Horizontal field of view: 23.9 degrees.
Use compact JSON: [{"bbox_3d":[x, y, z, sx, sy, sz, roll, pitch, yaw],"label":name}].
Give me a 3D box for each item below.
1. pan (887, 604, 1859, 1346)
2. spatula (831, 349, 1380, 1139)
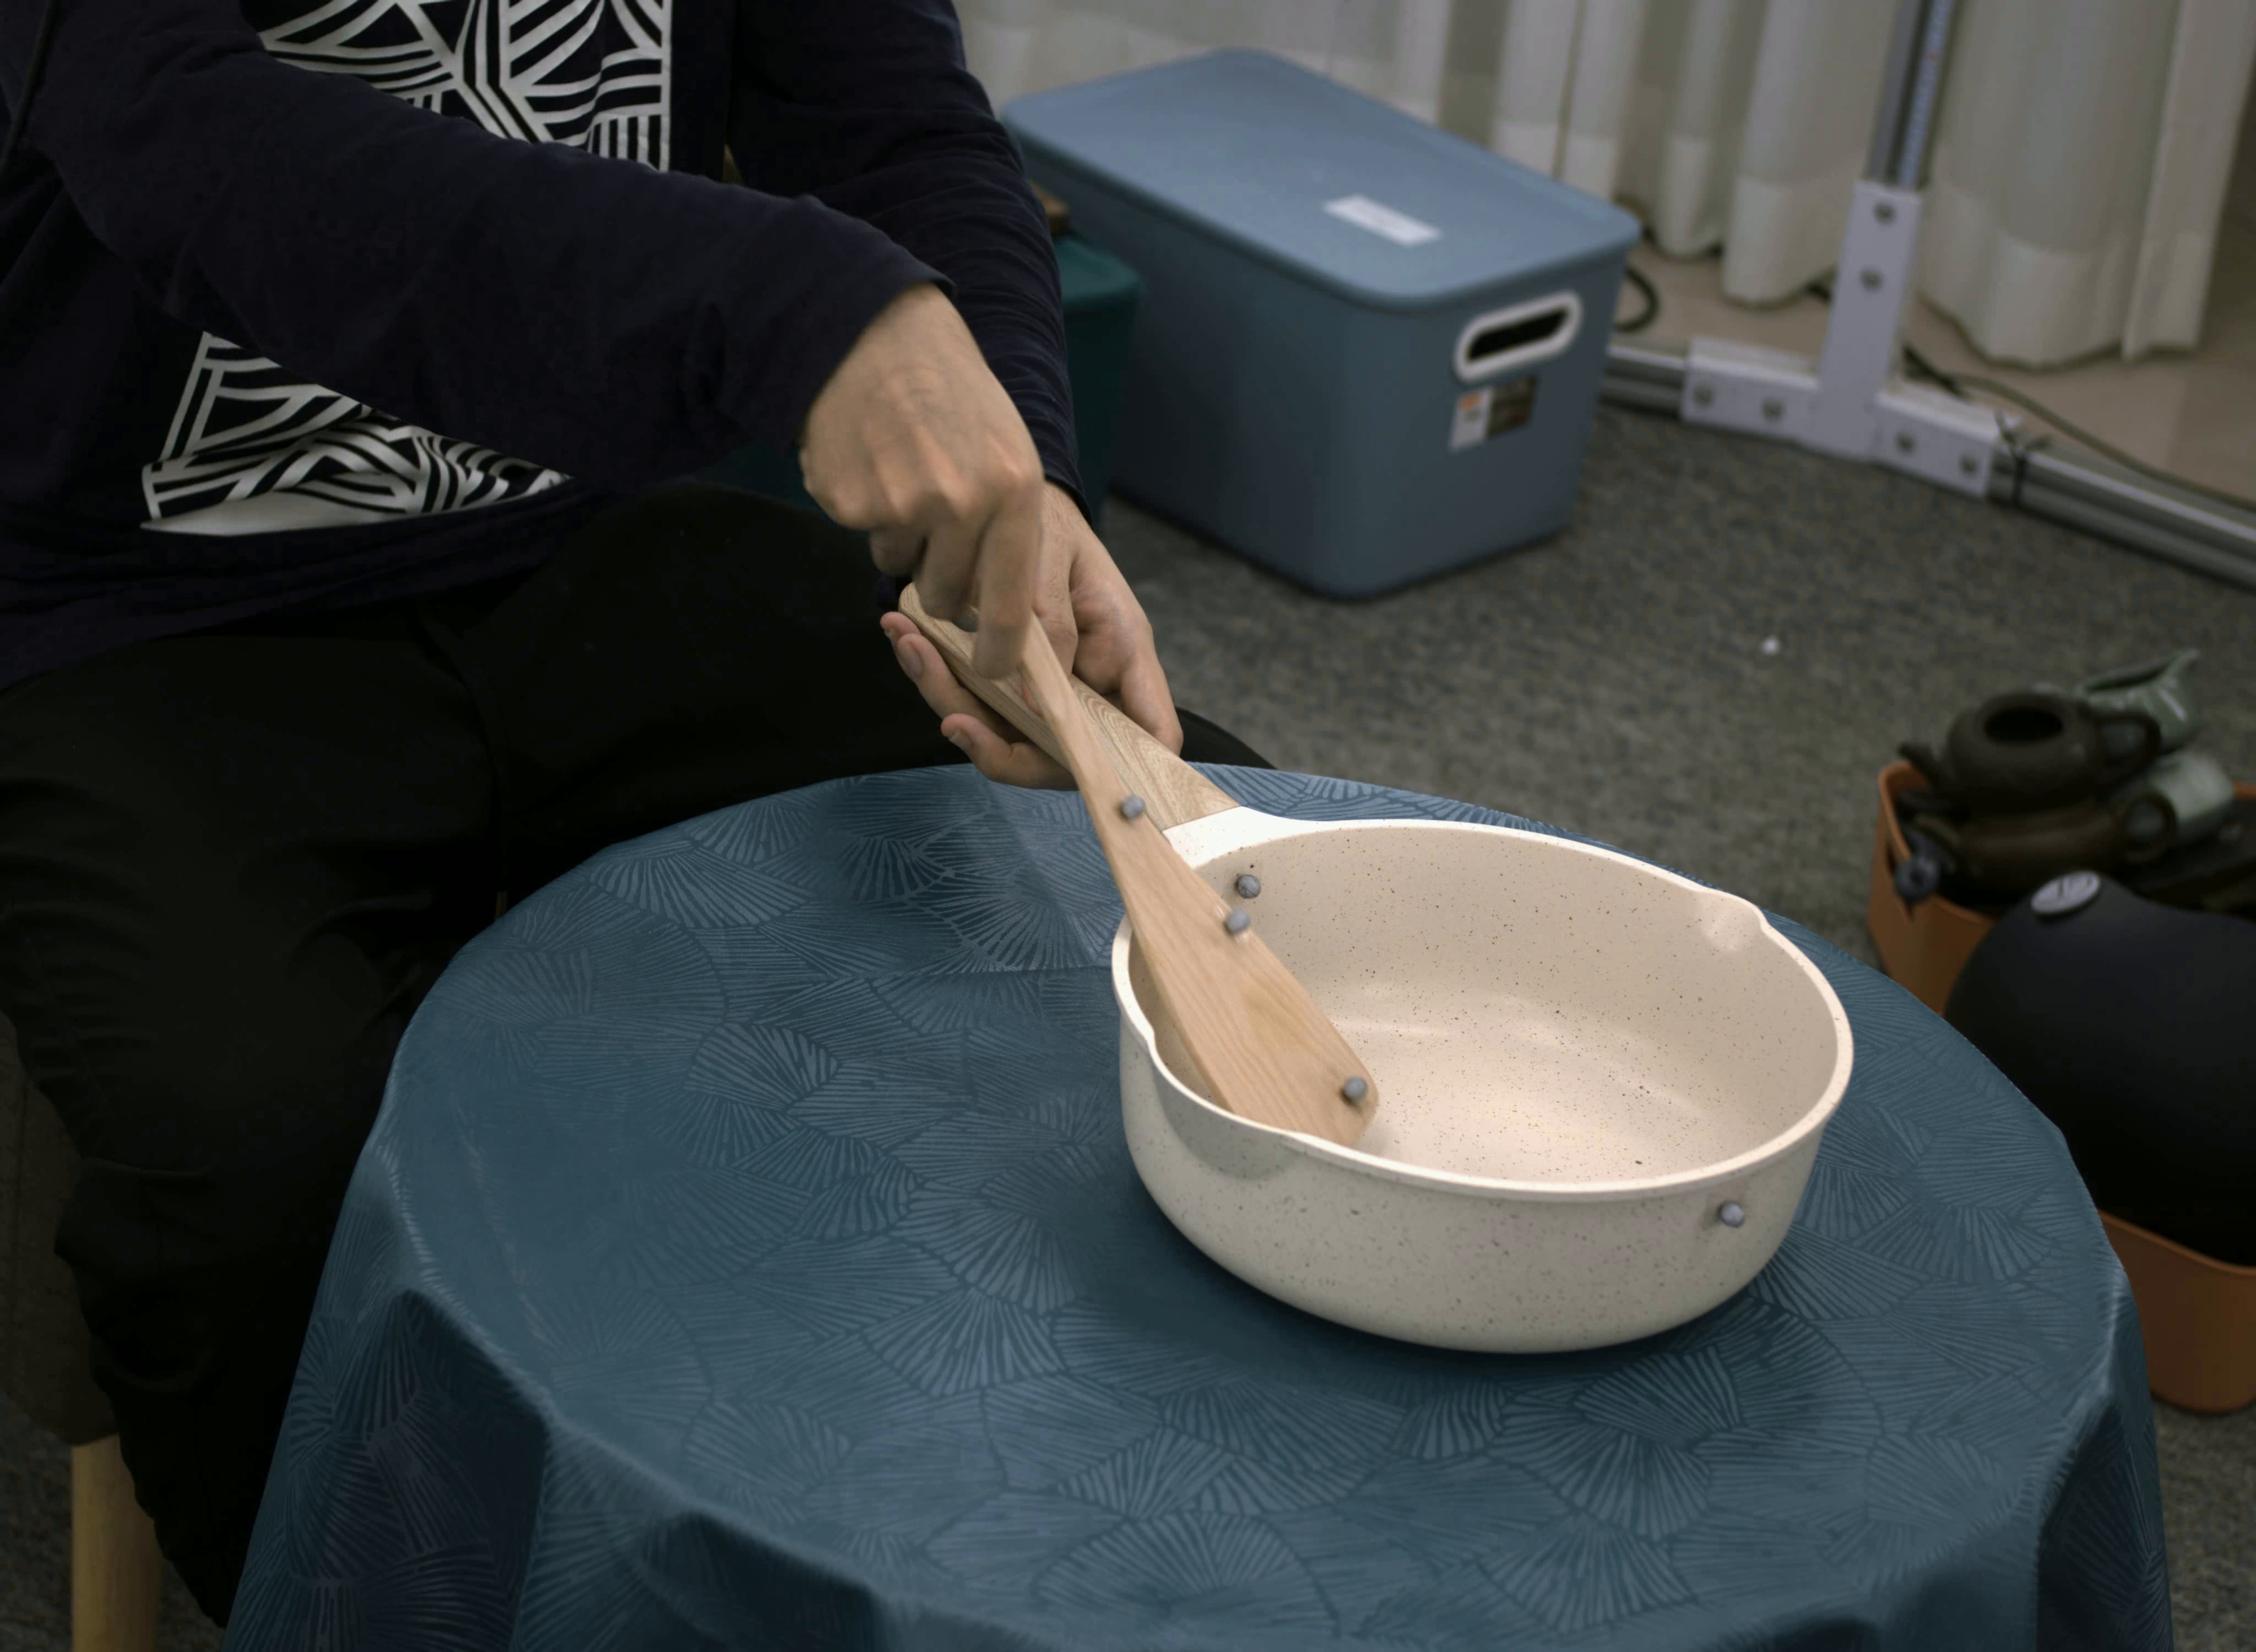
[{"bbox_3d":[0.058,0.048,1.869,0.262,0.101,0.438,-18,35,-38],"label":"pan"},{"bbox_3d":[-0.011,-0.023,1.815,0.080,0.016,0.328,-28,87,-54],"label":"spatula"}]
